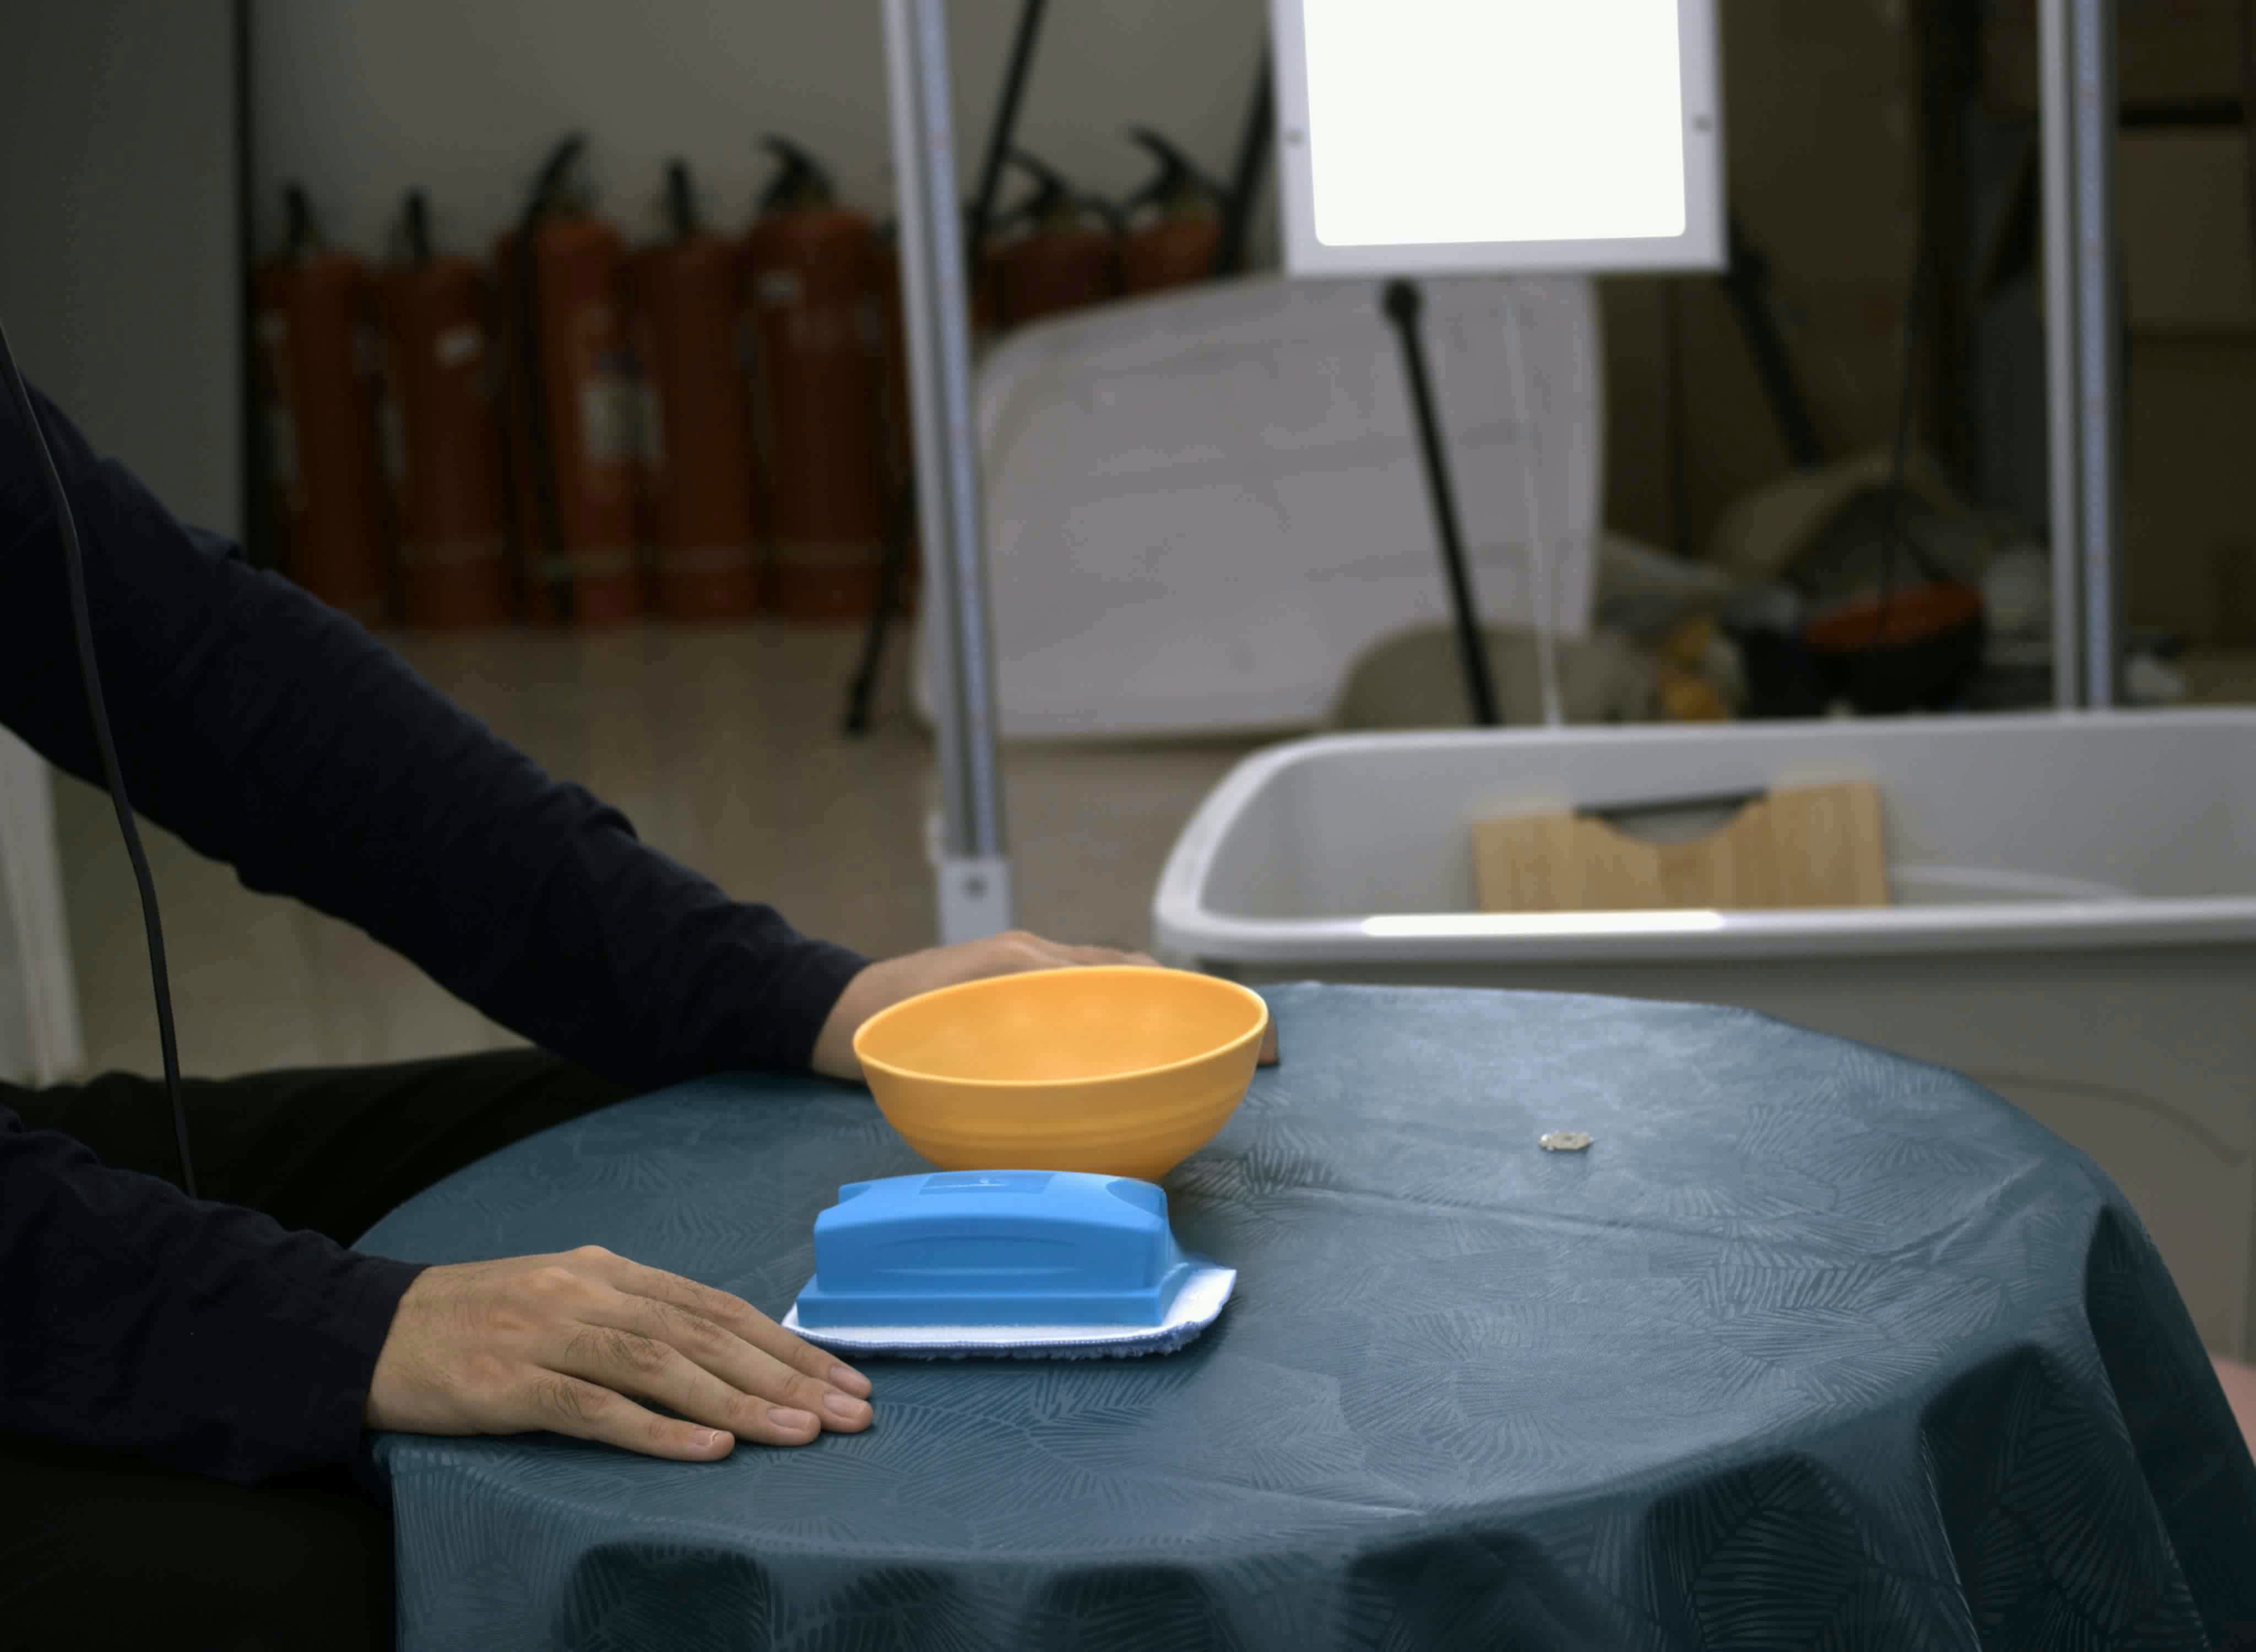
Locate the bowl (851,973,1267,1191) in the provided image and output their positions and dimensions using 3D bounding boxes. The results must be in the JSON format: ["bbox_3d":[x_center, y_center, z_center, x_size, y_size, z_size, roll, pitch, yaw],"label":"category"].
[{"bbox_3d":[-0.023,0.097,1.909,0.145,0.060,0.145,-3,13,-1],"label":"bowl"}]

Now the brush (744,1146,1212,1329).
[{"bbox_3d":[-0.048,0.132,1.763,0.145,0.056,0.082,1,11,16],"label":"brush"}]
